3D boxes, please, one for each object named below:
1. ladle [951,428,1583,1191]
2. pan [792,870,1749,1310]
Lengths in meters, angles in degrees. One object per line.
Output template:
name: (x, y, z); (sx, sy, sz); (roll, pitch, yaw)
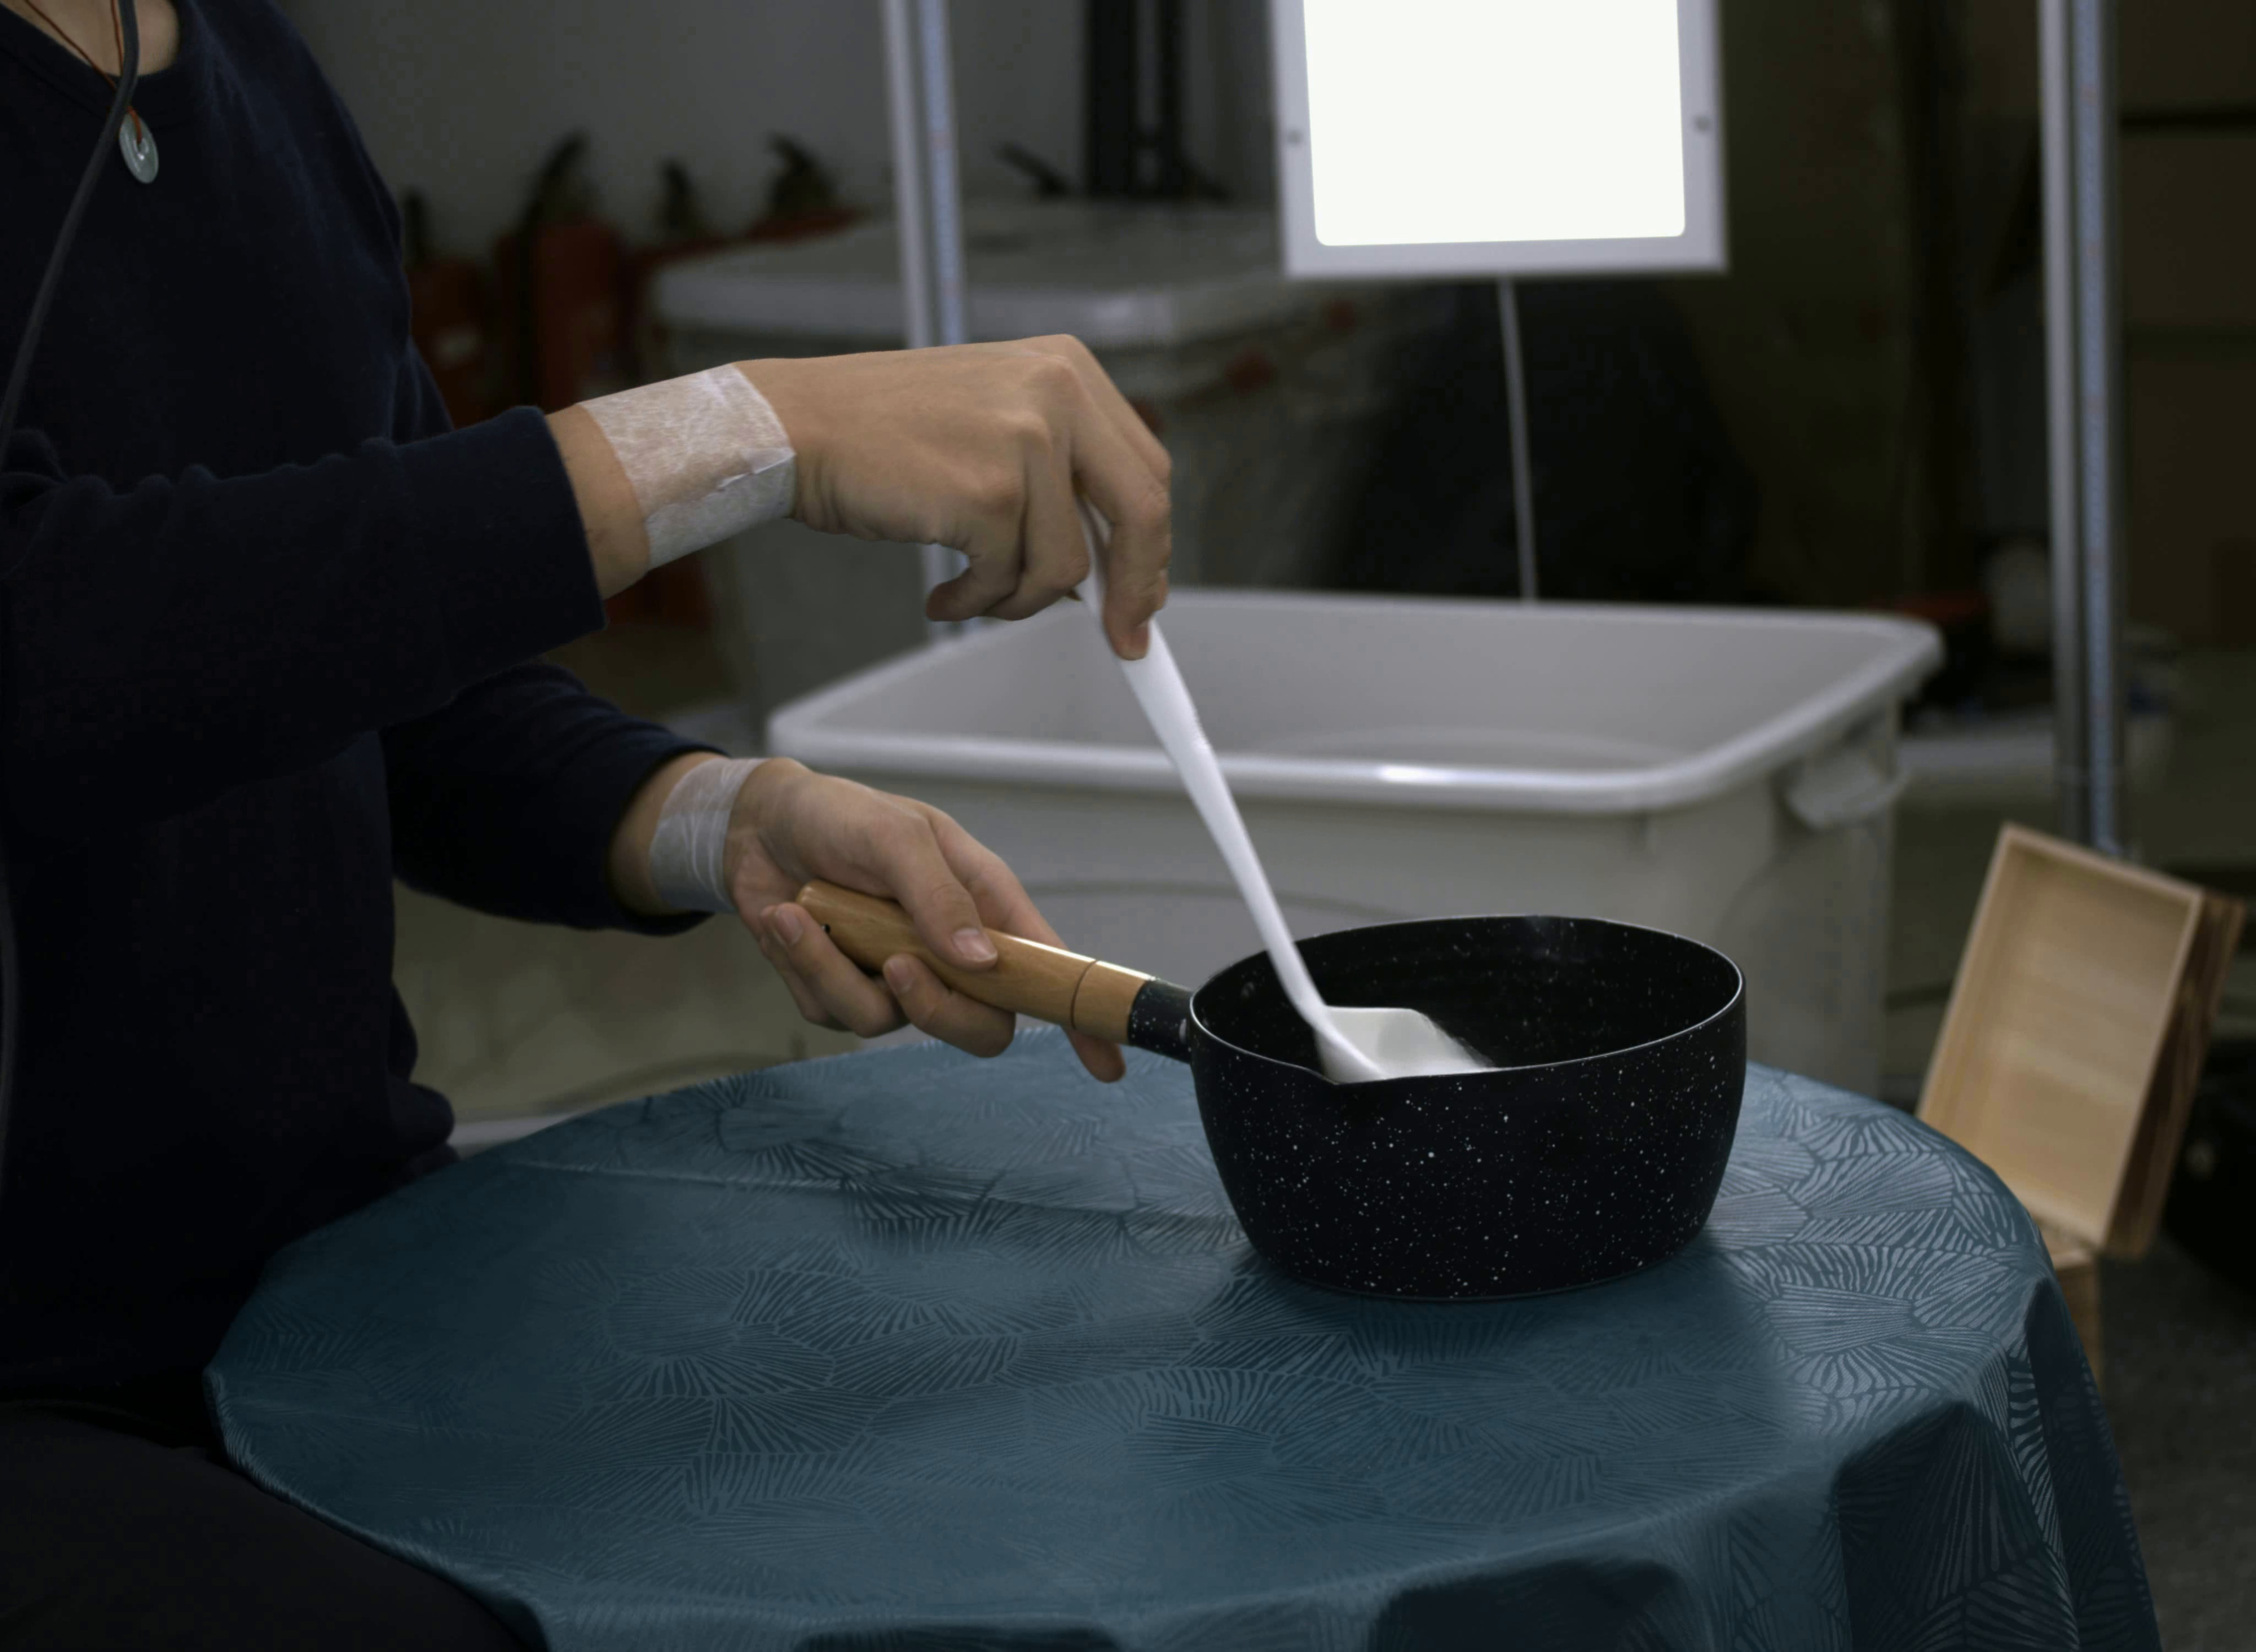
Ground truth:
ladle: (0.049, -0.005, 1.725); (0.071, 0.292, 0.089); (-25, 18, 20)
pan: (0.041, 0.079, 1.844); (0.348, 0.108, 0.203); (4, 17, 26)
